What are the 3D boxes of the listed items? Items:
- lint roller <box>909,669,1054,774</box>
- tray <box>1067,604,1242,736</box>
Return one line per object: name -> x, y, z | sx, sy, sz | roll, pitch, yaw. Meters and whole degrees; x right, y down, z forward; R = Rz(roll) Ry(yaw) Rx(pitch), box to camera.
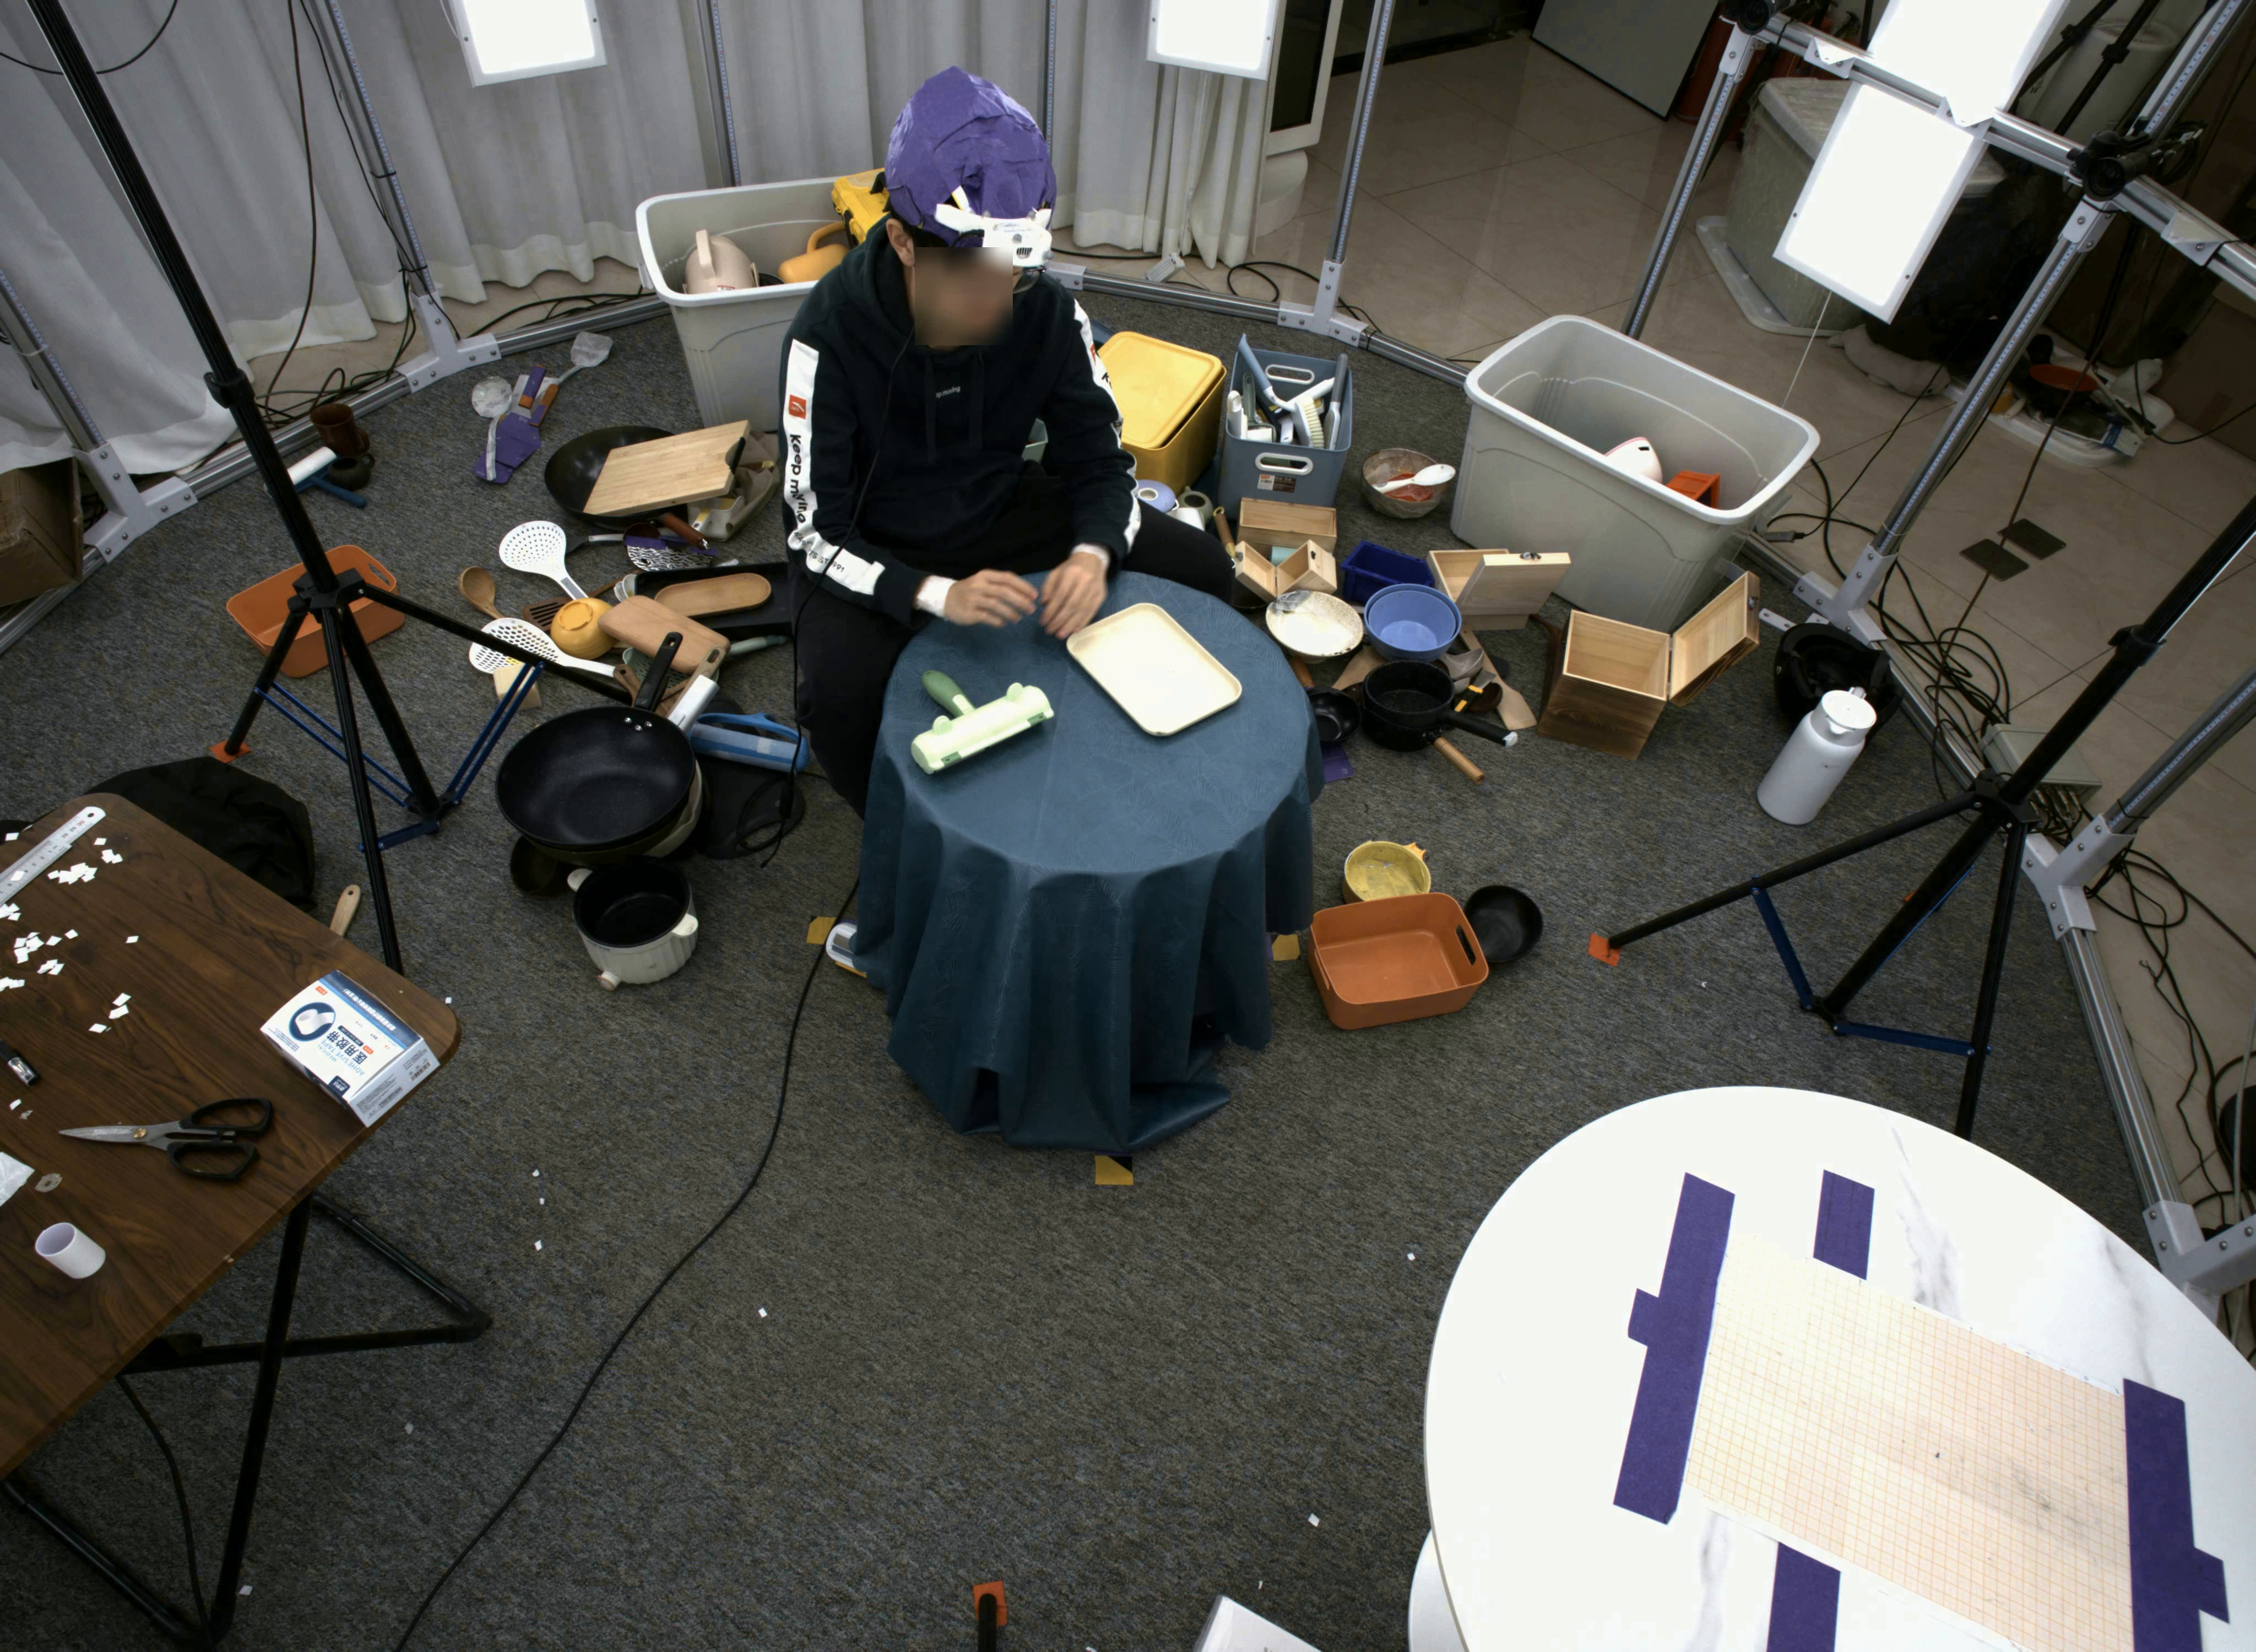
lint roller -> -0.229, -0.173, 1.754 | 0.199, 0.080, 0.186 | -27, 60, -24
tray -> 0.037, -0.227, 1.856 | 0.172, 0.017, 0.244 | -27, 56, -25
